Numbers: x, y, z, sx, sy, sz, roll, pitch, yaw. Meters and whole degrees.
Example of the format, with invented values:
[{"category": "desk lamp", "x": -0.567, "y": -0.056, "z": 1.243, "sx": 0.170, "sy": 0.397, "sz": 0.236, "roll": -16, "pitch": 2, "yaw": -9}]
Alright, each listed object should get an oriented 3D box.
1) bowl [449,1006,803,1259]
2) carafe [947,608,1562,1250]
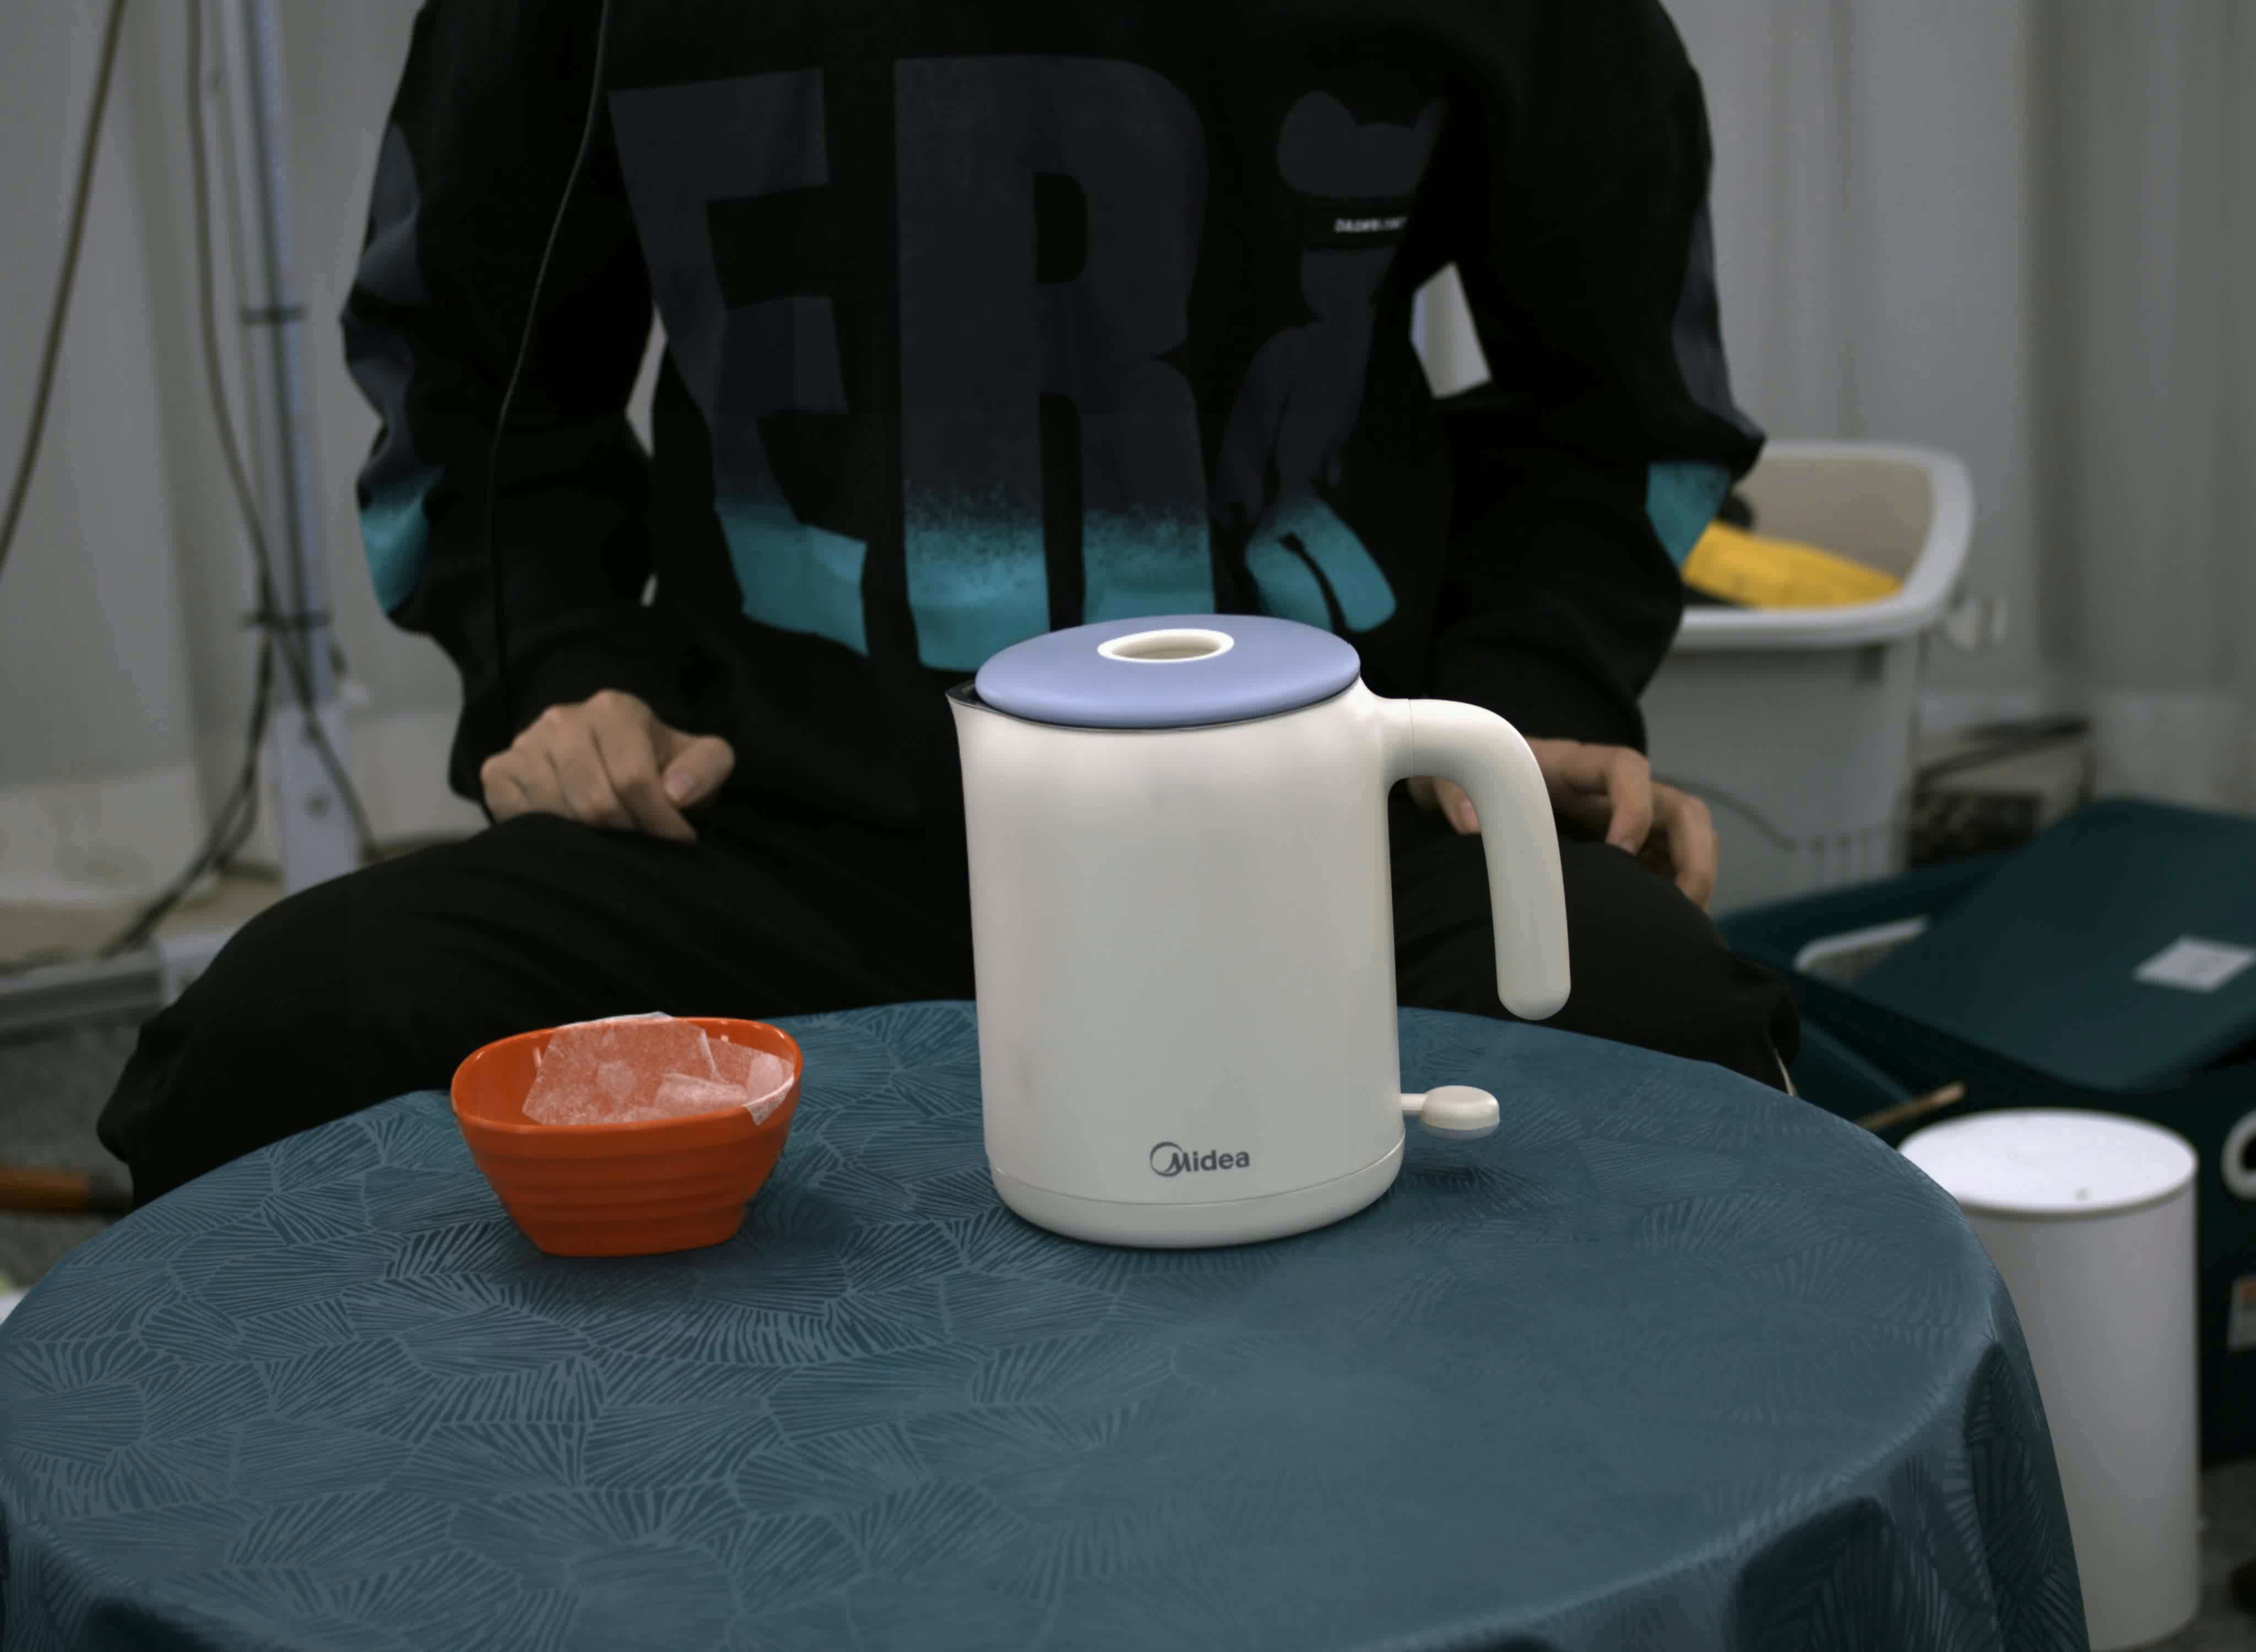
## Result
[{"category": "bowl", "x": -0.154, "y": 0.098, "z": 1.704, "sx": 0.118, "sy": 0.051, "sz": 0.120, "roll": -4, "pitch": 17, "yaw": 1}, {"category": "carafe", "x": 0.040, "y": 0.030, "z": 1.695, "sx": 0.190, "sy": 0.182, "sz": 0.133, "roll": -1, "pitch": 15, "yaw": -2}]
